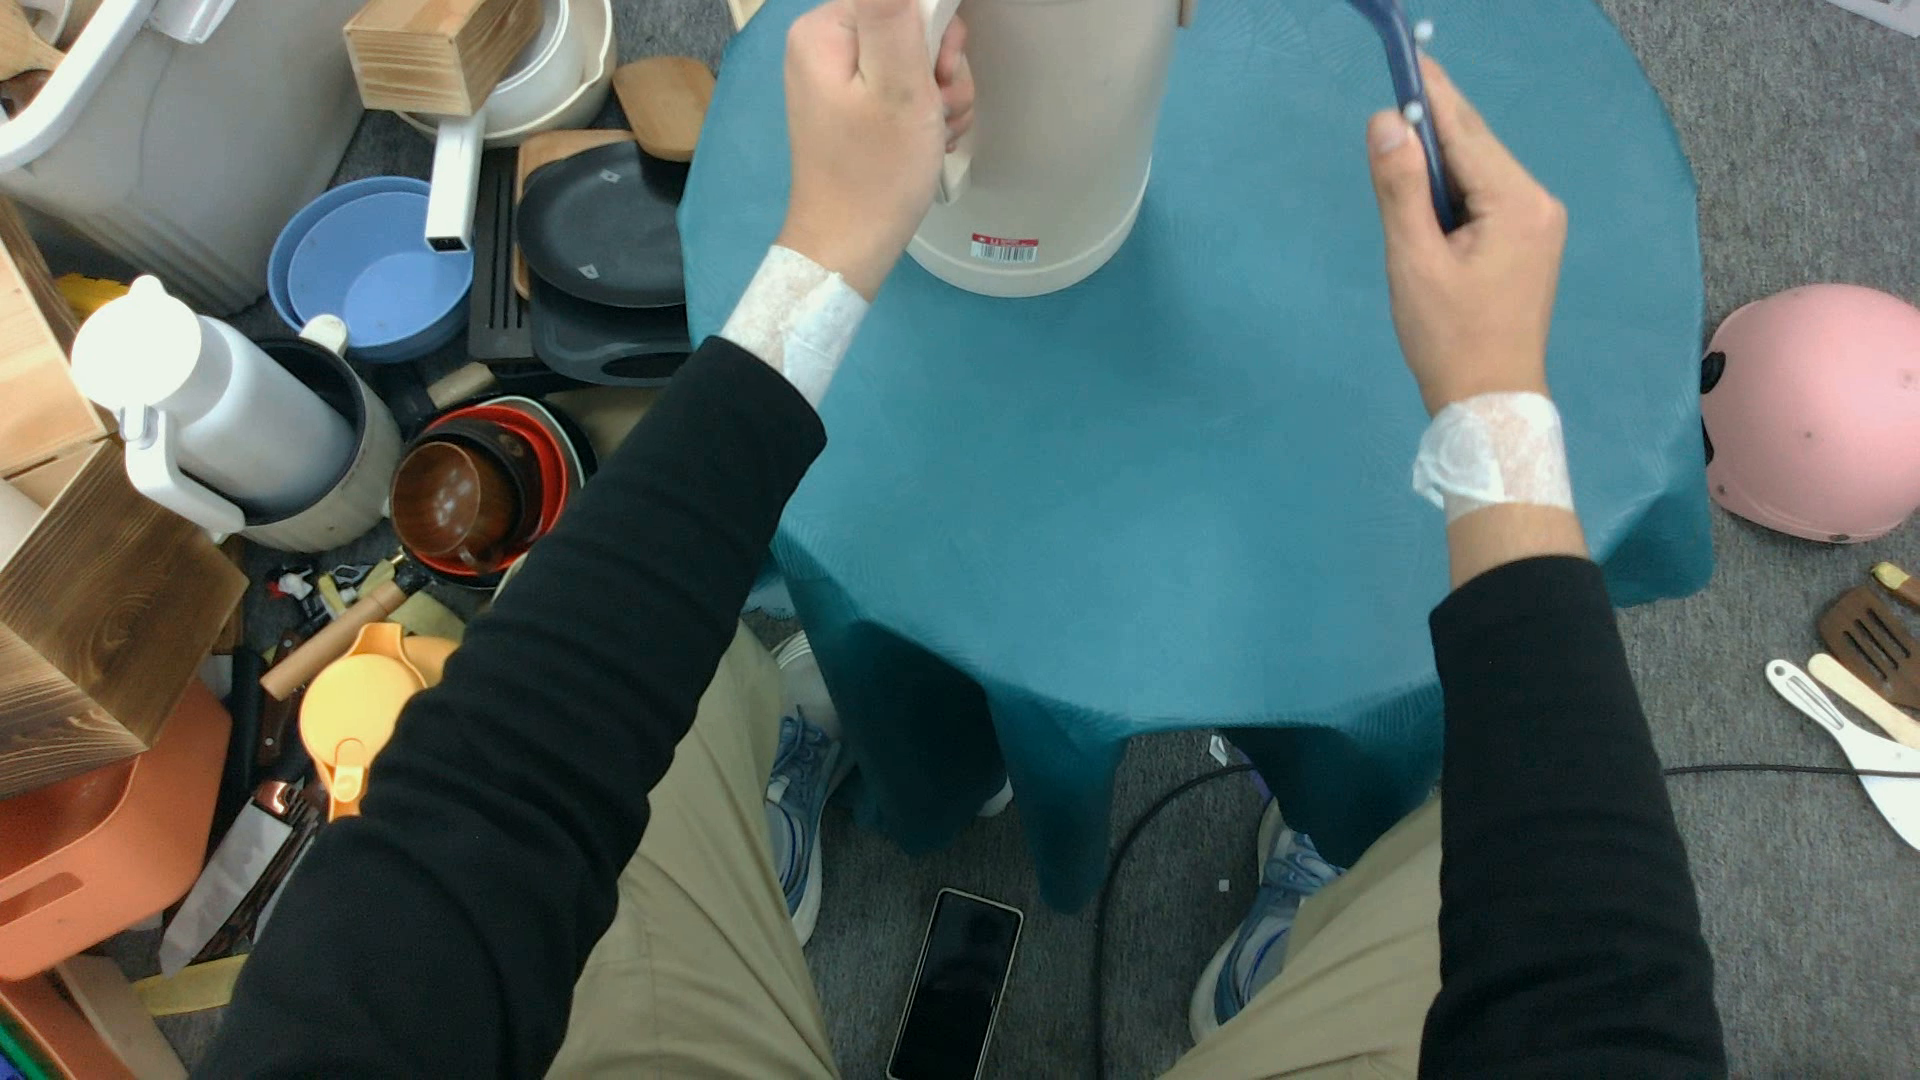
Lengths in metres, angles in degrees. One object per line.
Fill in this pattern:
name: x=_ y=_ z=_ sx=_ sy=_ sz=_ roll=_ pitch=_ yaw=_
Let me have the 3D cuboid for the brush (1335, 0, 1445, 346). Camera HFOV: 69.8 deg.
brush: x=0.183 y=-0.206 z=0.580 sx=0.095 sy=0.272 sz=0.033 roll=-22 pitch=33 yaw=24

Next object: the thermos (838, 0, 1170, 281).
thermos: x=0.011 y=-0.266 z=0.628 sx=0.175 sy=0.405 sz=0.207 roll=25 pitch=75 yaw=5
